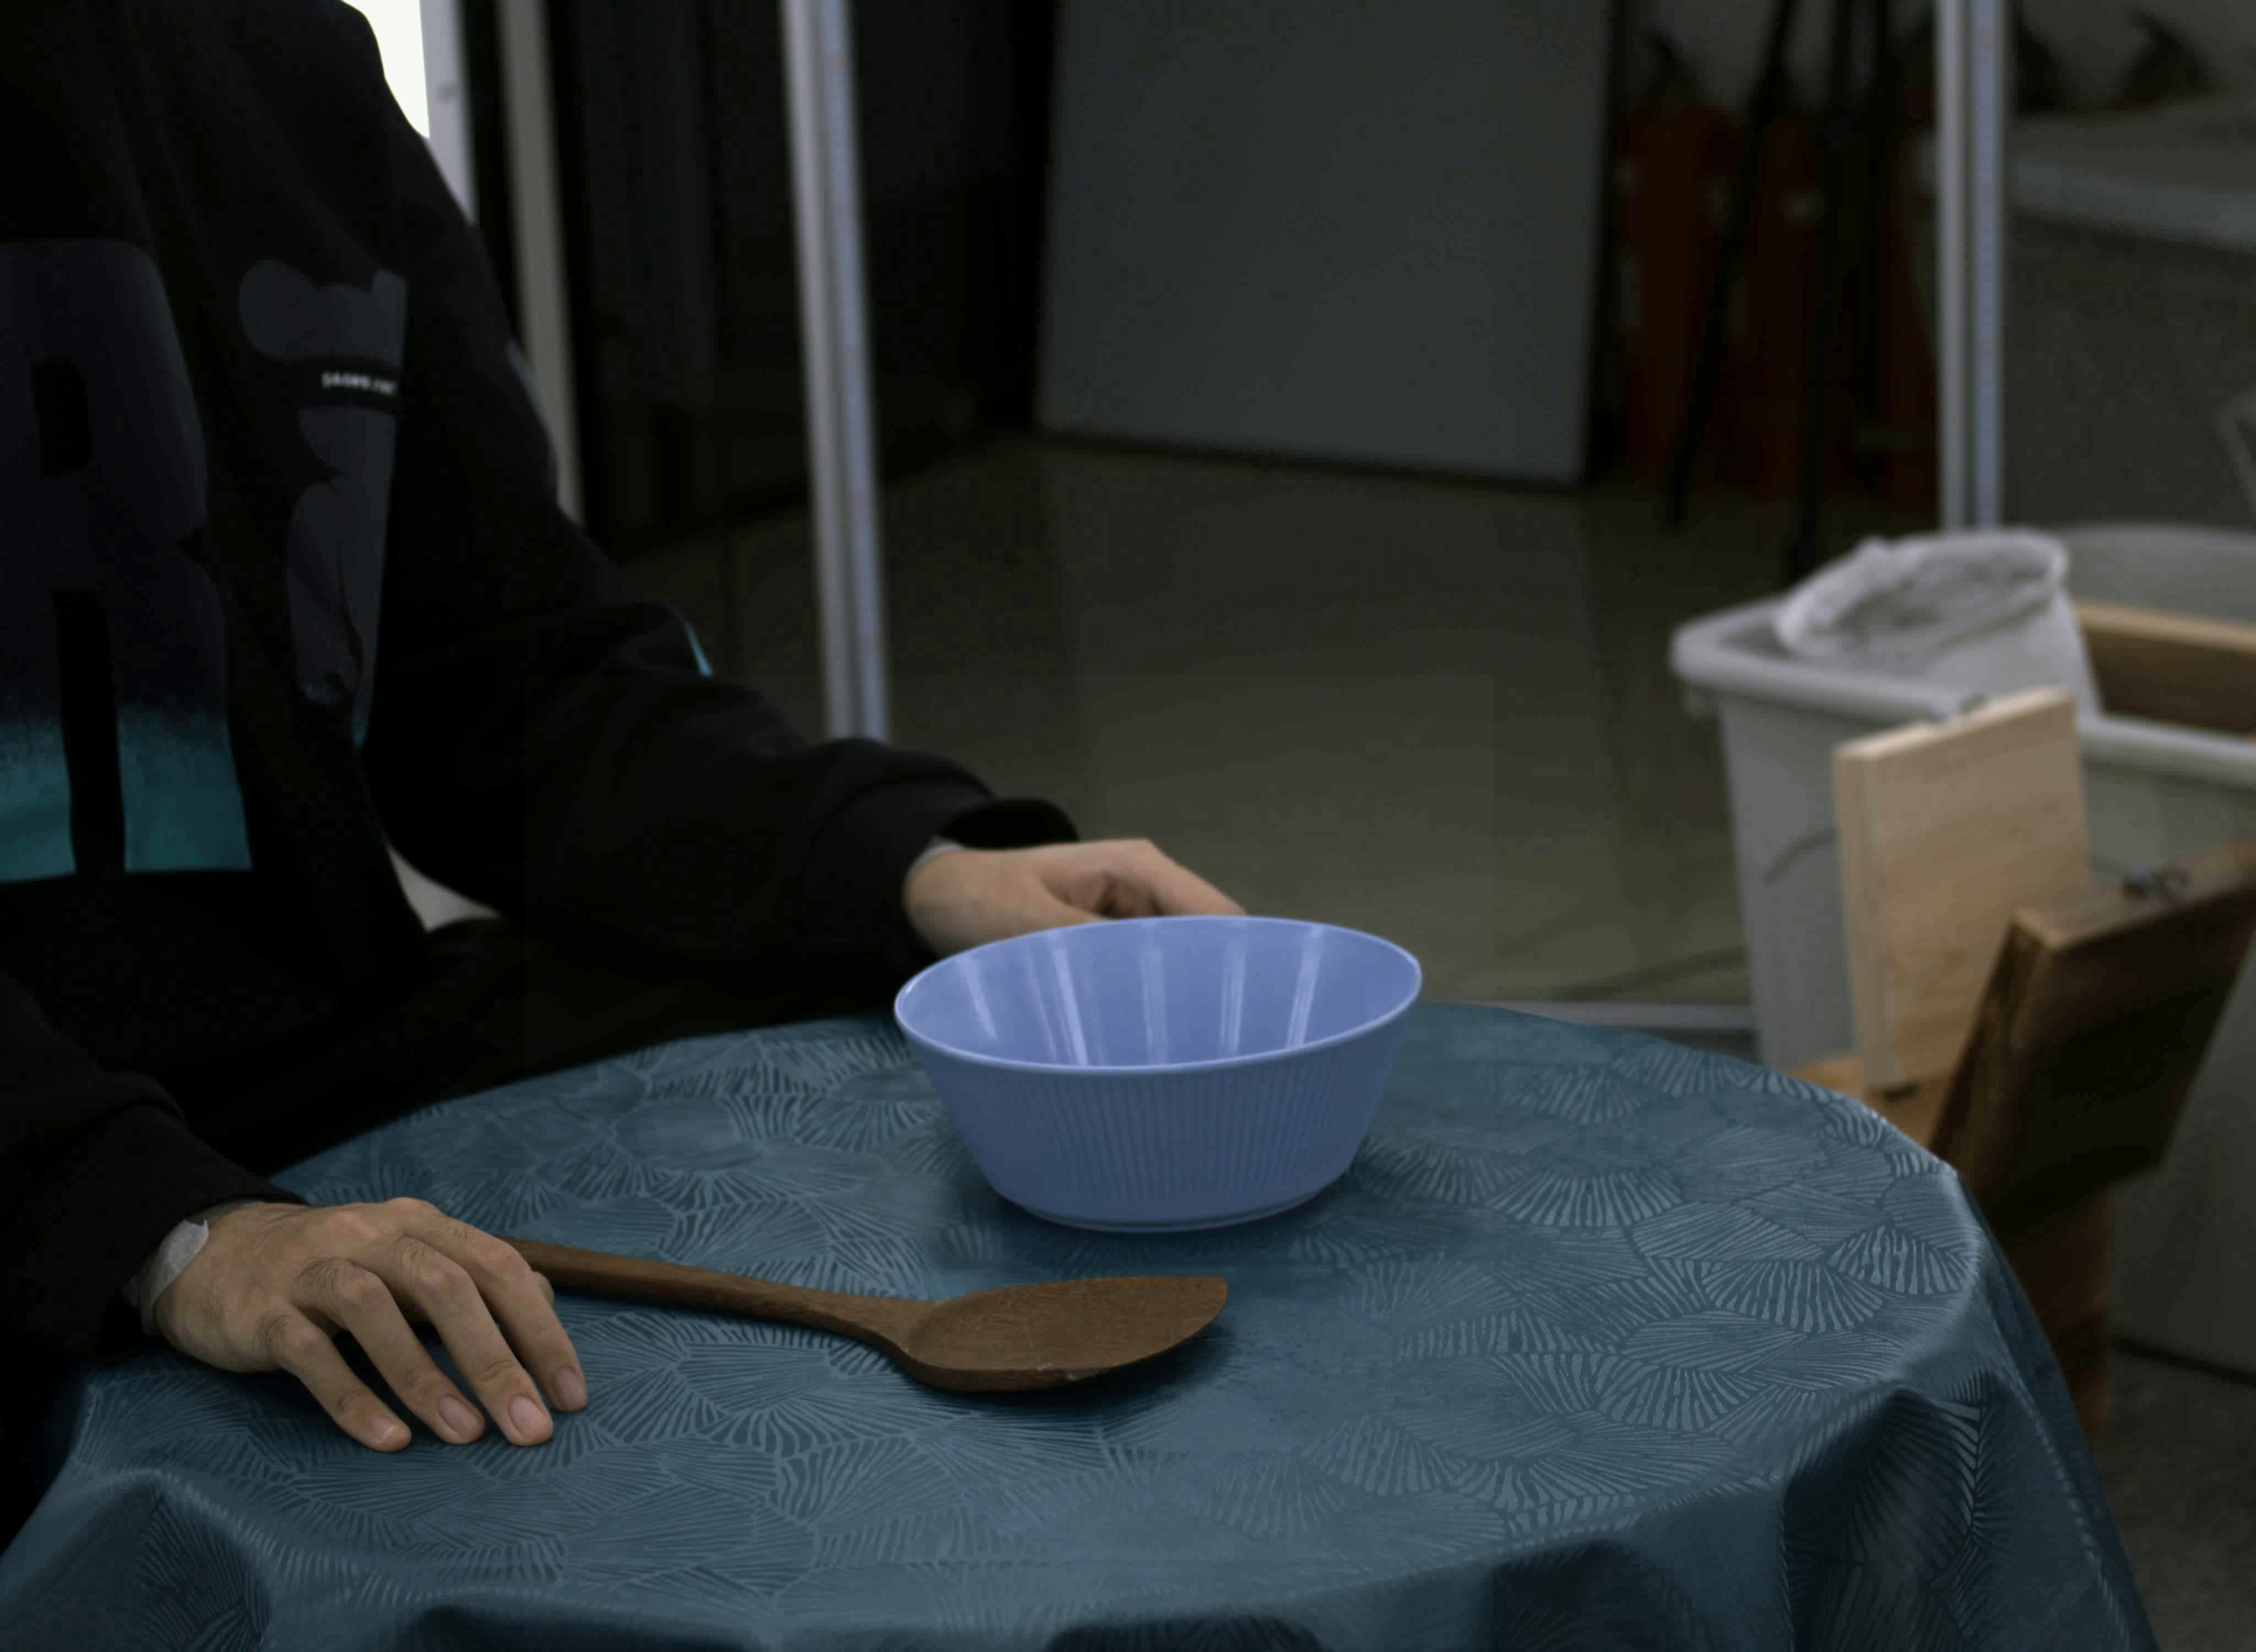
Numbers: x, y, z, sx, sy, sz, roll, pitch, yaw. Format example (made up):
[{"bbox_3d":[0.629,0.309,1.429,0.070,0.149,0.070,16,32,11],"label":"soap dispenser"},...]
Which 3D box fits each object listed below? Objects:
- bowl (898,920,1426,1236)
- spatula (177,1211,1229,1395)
[{"bbox_3d":[0.014,0.085,1.768,0.174,0.071,0.176,-5,13,0],"label":"bowl"},{"bbox_3d":[-0.146,0.144,1.693,0.387,0.016,0.094,4,16,31],"label":"spatula"}]
